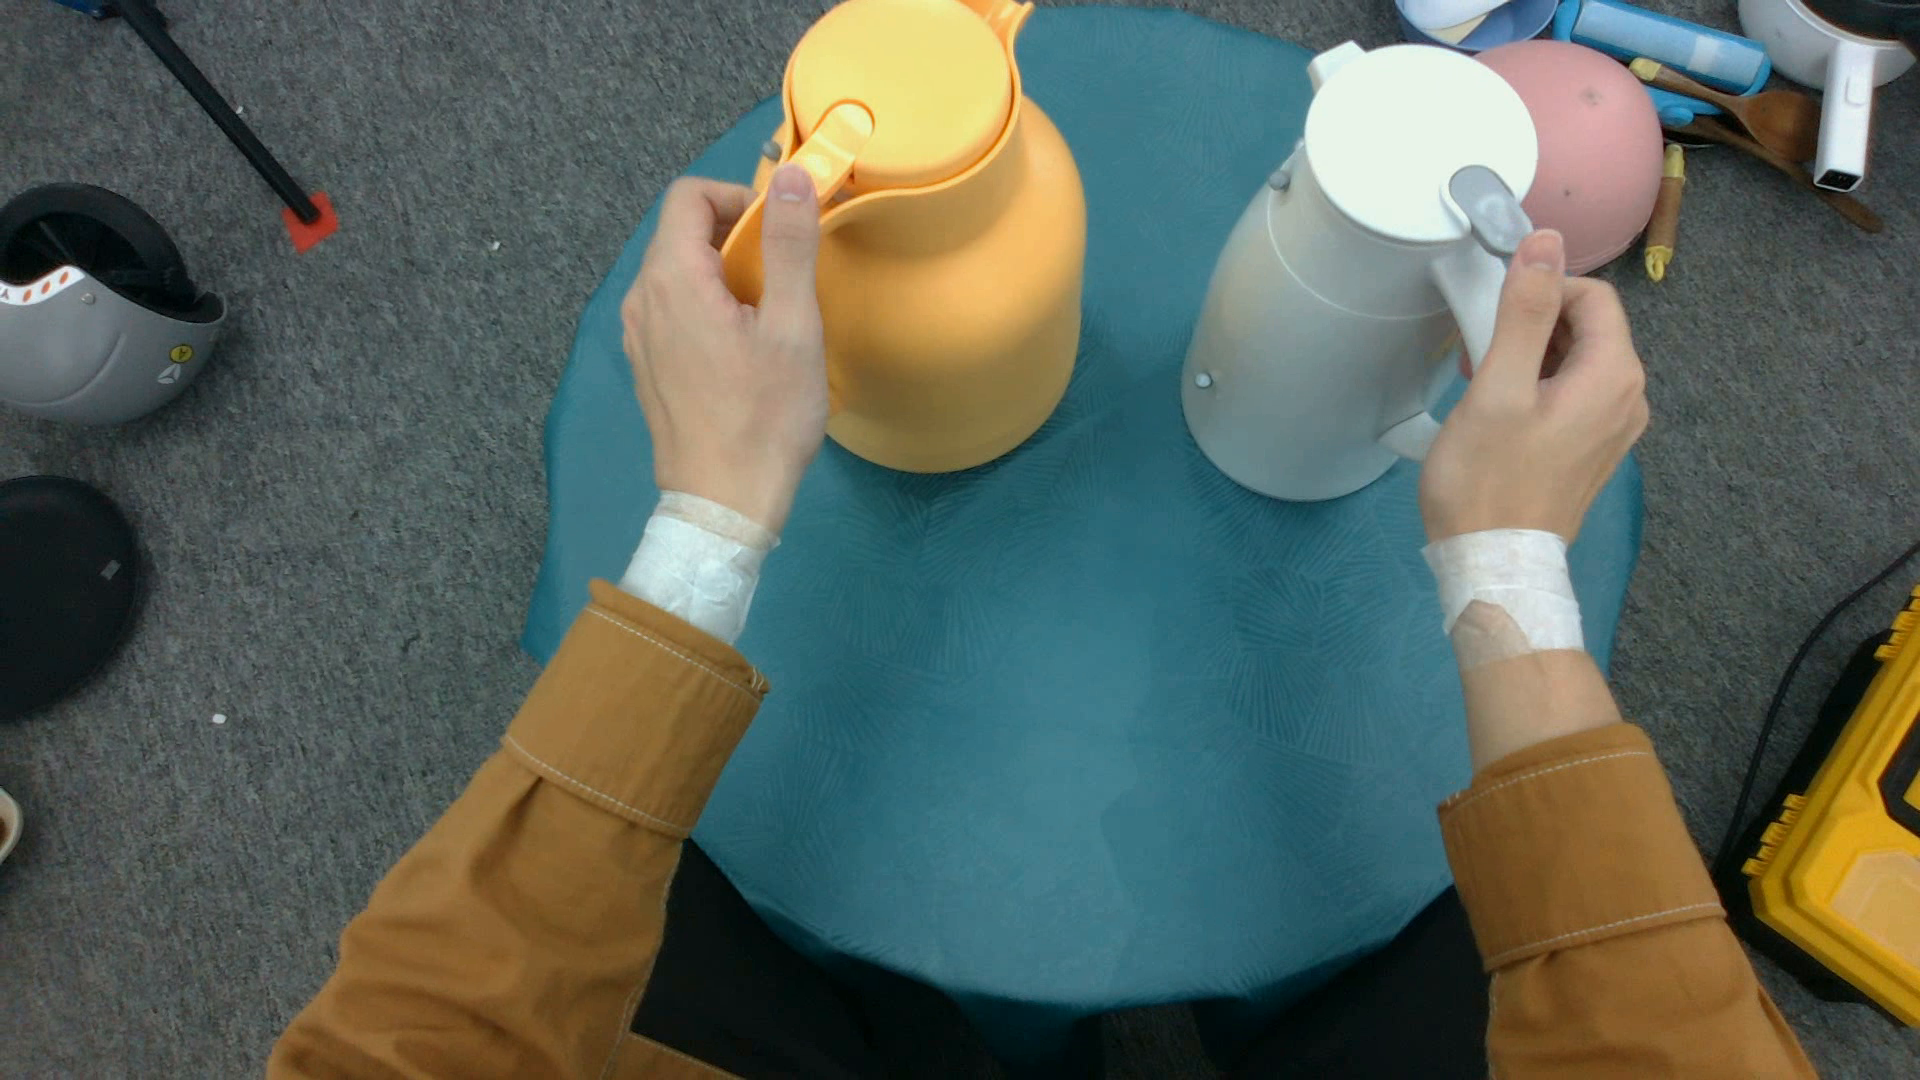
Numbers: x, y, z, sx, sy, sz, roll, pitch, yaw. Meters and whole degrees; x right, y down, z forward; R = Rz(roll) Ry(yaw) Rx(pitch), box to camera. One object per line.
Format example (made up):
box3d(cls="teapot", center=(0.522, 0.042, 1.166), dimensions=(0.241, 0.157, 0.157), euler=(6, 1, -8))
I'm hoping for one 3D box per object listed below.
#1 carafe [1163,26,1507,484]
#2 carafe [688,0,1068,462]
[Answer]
box3d(cls="carafe", center=(0.188, -0.117, 0.660), dimensions=(0.133, 0.248, 0.168), euler=(-28, 73, -9))
box3d(cls="carafe", center=(-0.042, -0.139, 0.664), dimensions=(0.163, 0.259, 0.203), euler=(38, 74, 14))
